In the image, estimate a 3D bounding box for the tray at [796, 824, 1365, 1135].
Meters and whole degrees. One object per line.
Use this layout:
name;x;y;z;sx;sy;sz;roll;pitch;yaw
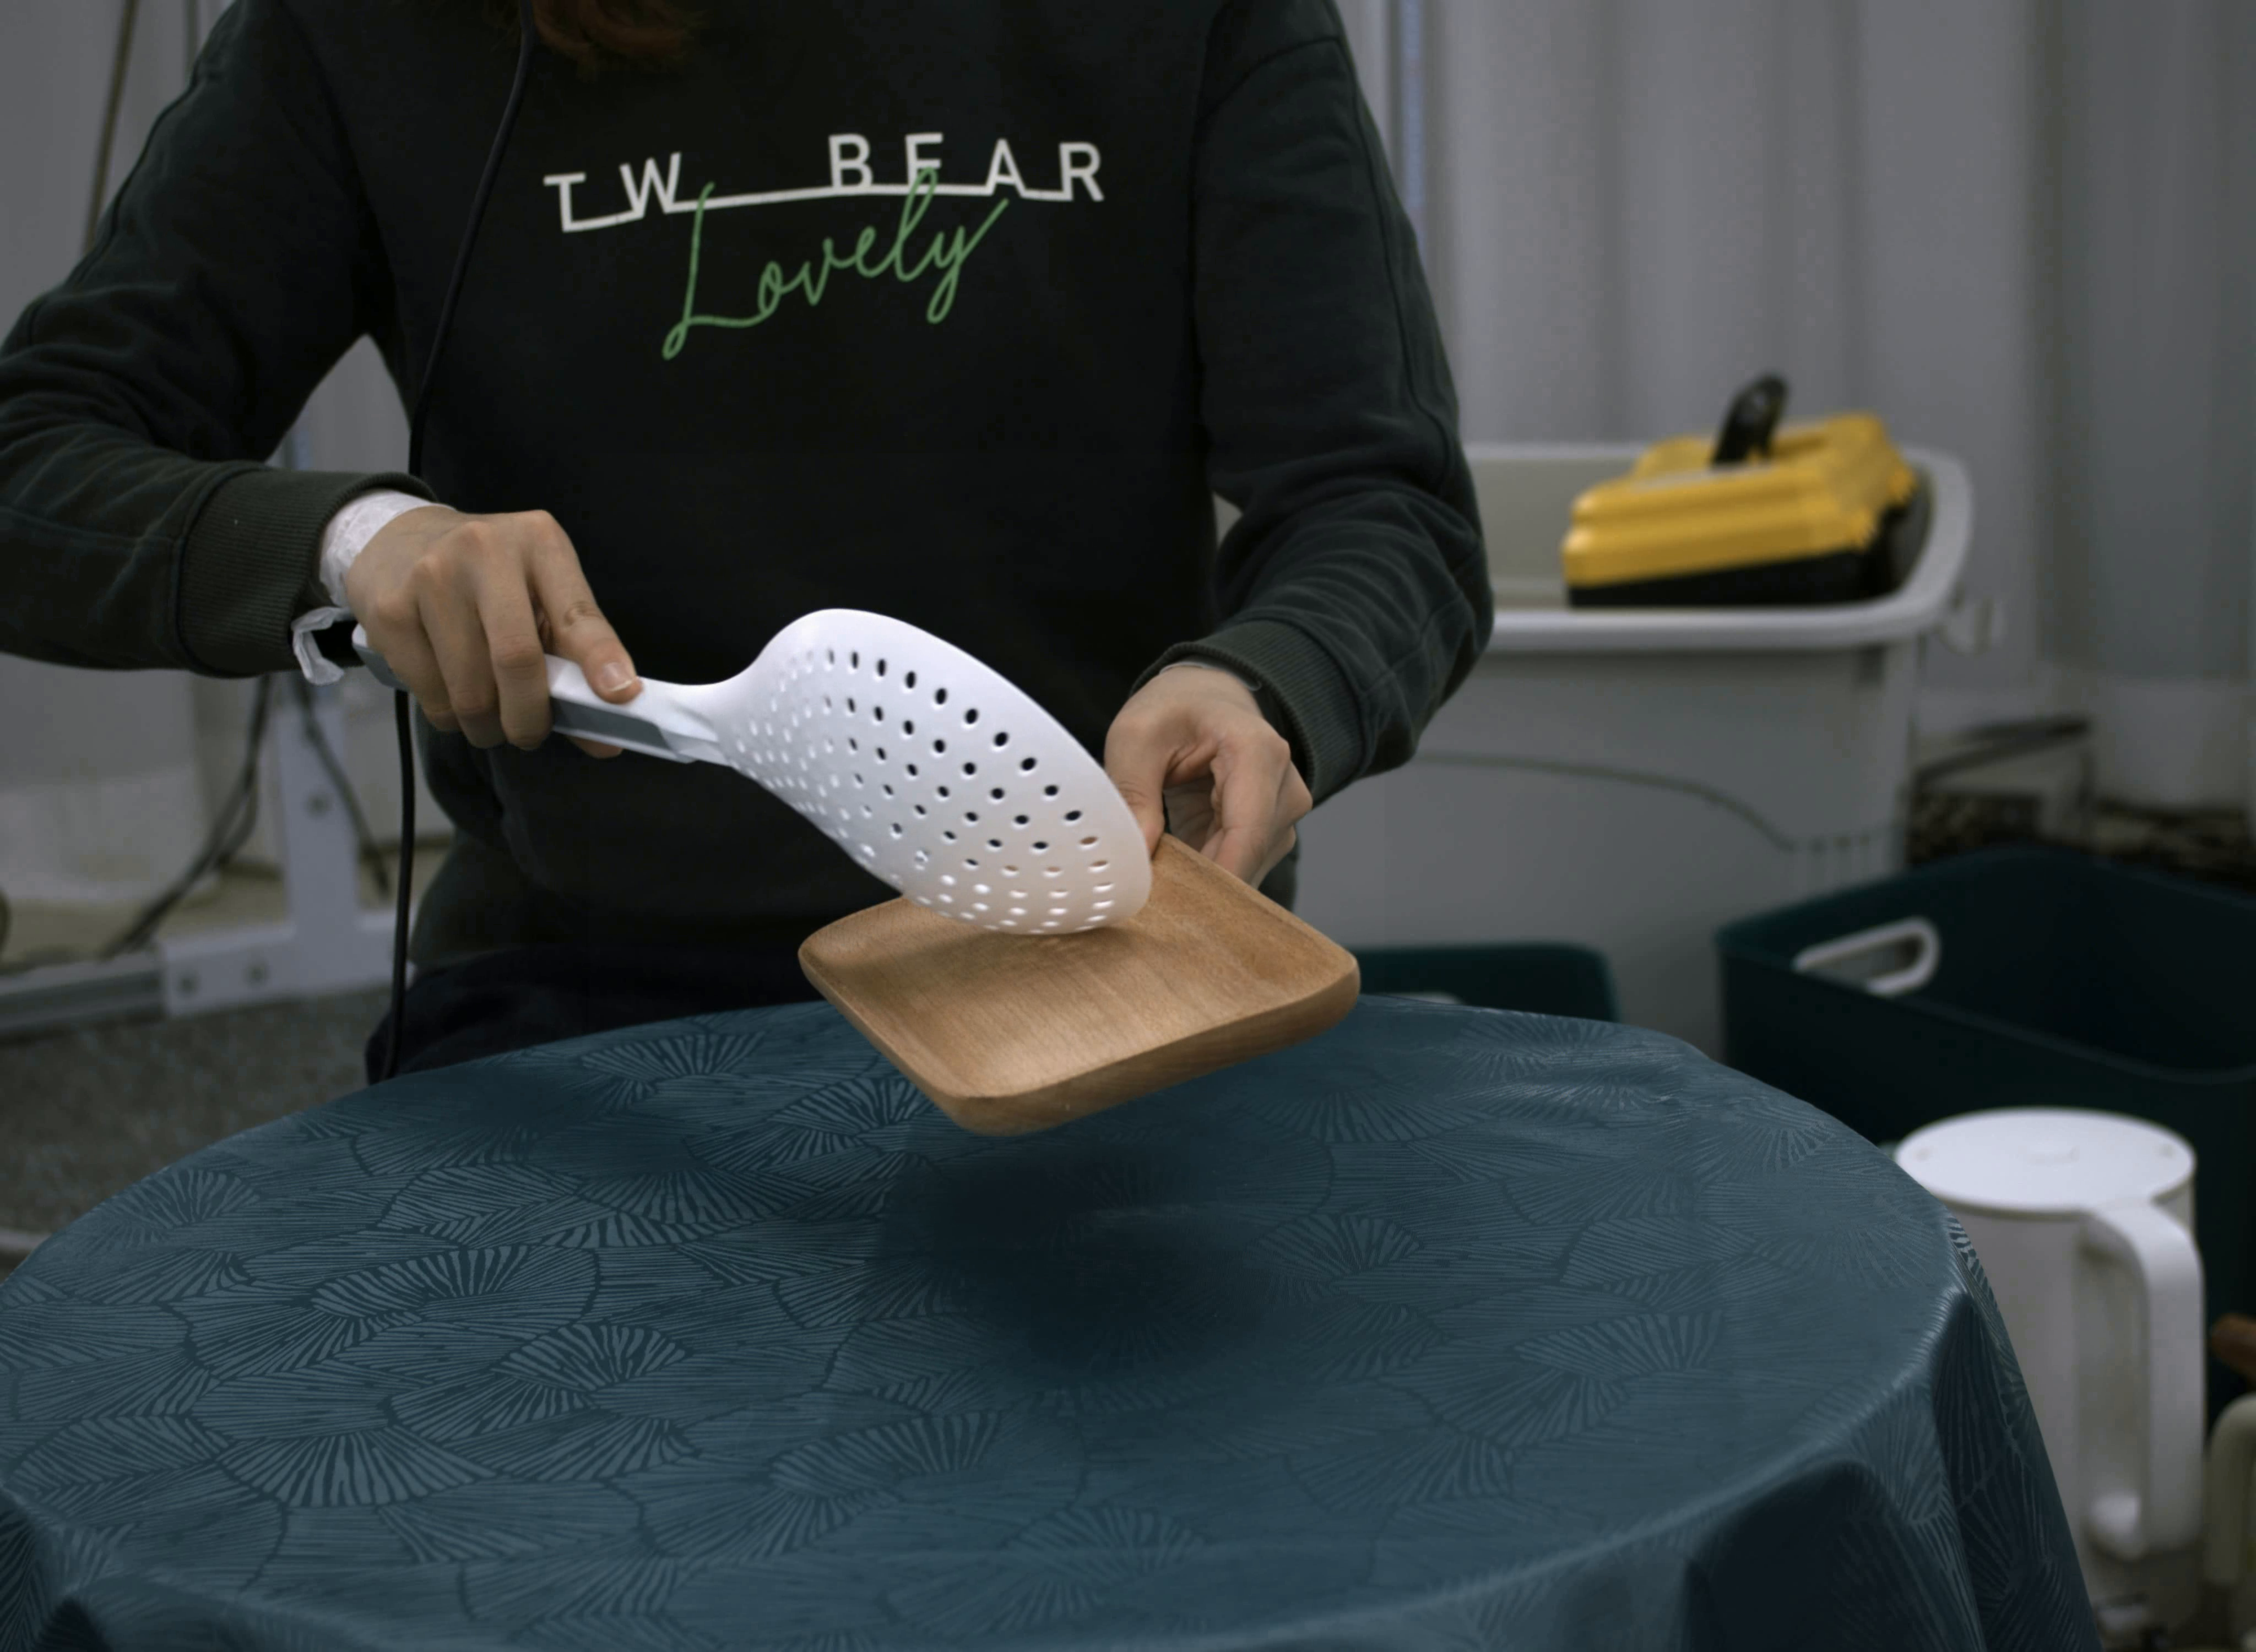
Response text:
tray;-0.018;0.044;1.645;0.130;0.023;0.252;-16;13;-12

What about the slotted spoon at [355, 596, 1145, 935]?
slotted spoon;-0.131;-0.031;1.730;0.352;0.134;0.046;18;56;46
